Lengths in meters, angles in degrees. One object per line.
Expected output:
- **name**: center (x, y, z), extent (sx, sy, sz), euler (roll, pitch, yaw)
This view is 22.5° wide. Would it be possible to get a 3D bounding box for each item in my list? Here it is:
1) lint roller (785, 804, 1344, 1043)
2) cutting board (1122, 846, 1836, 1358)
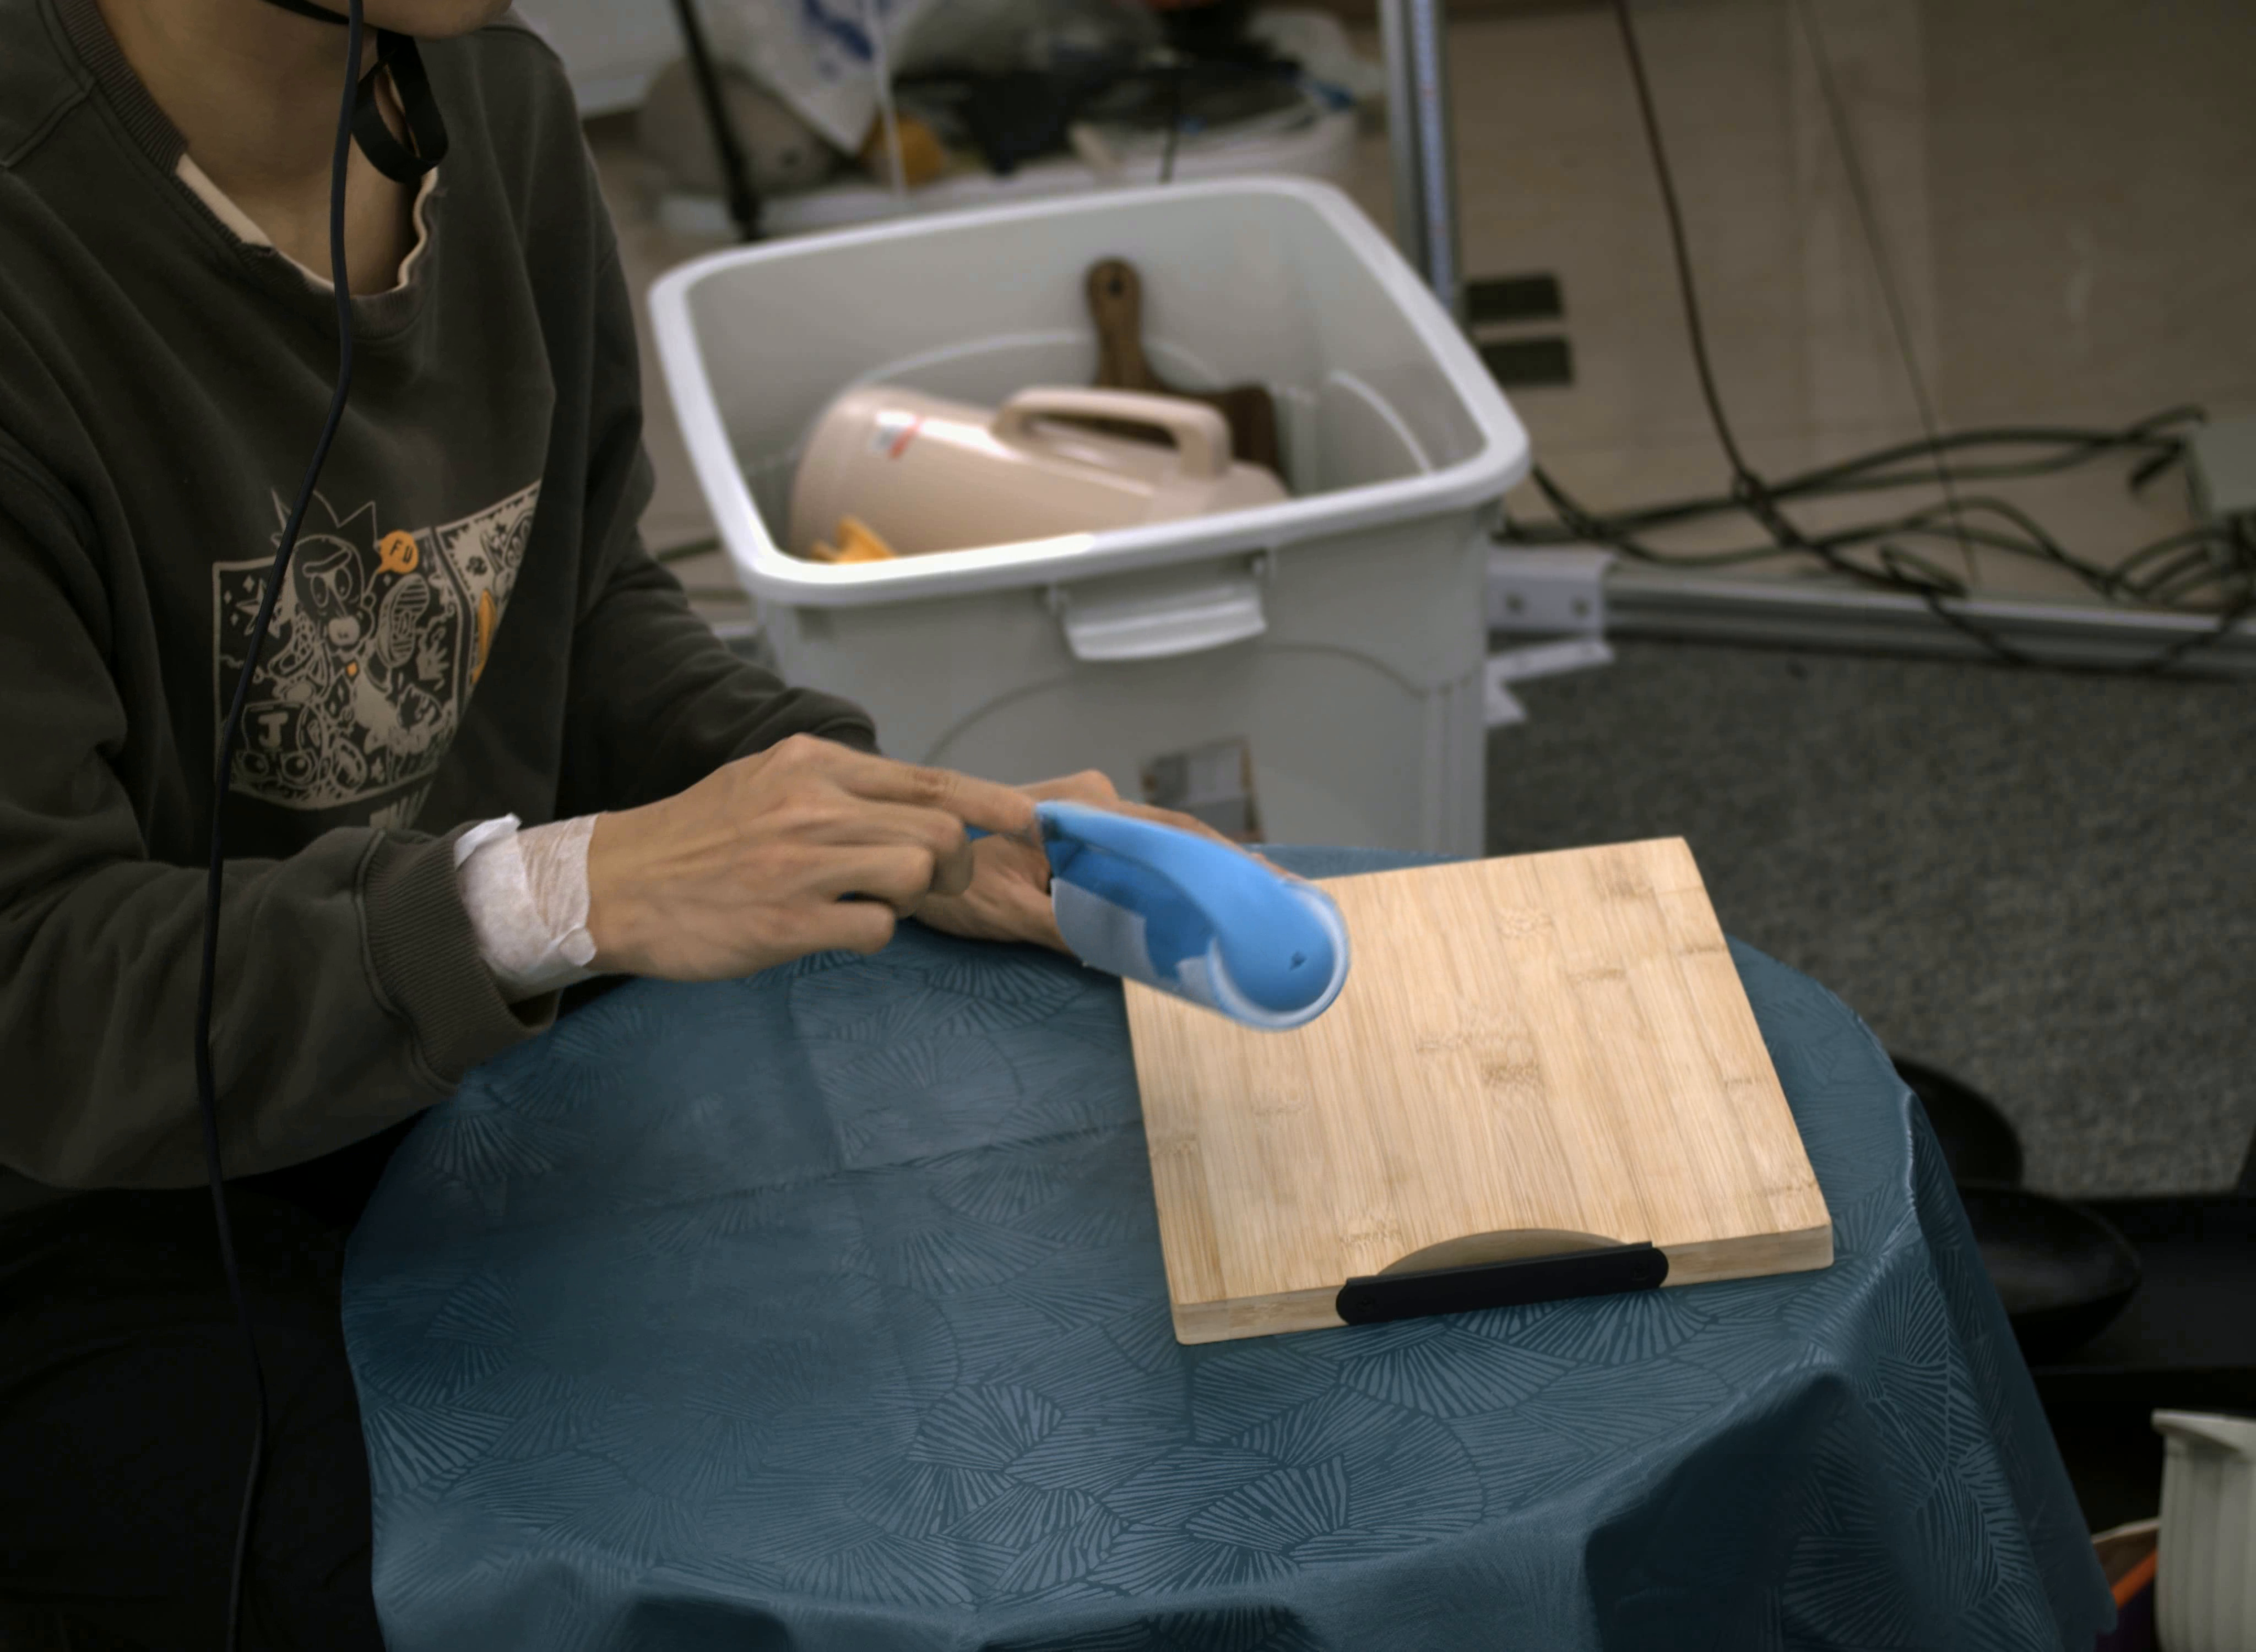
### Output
- **lint roller**: center (-0.031, 0.026, 2.049), extent (0.180, 0.068, 0.227), euler (13, 3, -19)
- **cutting board**: center (0.124, 0.099, 2.183), extent (0.250, 0.024, 0.343), euler (-8, 25, -1)
